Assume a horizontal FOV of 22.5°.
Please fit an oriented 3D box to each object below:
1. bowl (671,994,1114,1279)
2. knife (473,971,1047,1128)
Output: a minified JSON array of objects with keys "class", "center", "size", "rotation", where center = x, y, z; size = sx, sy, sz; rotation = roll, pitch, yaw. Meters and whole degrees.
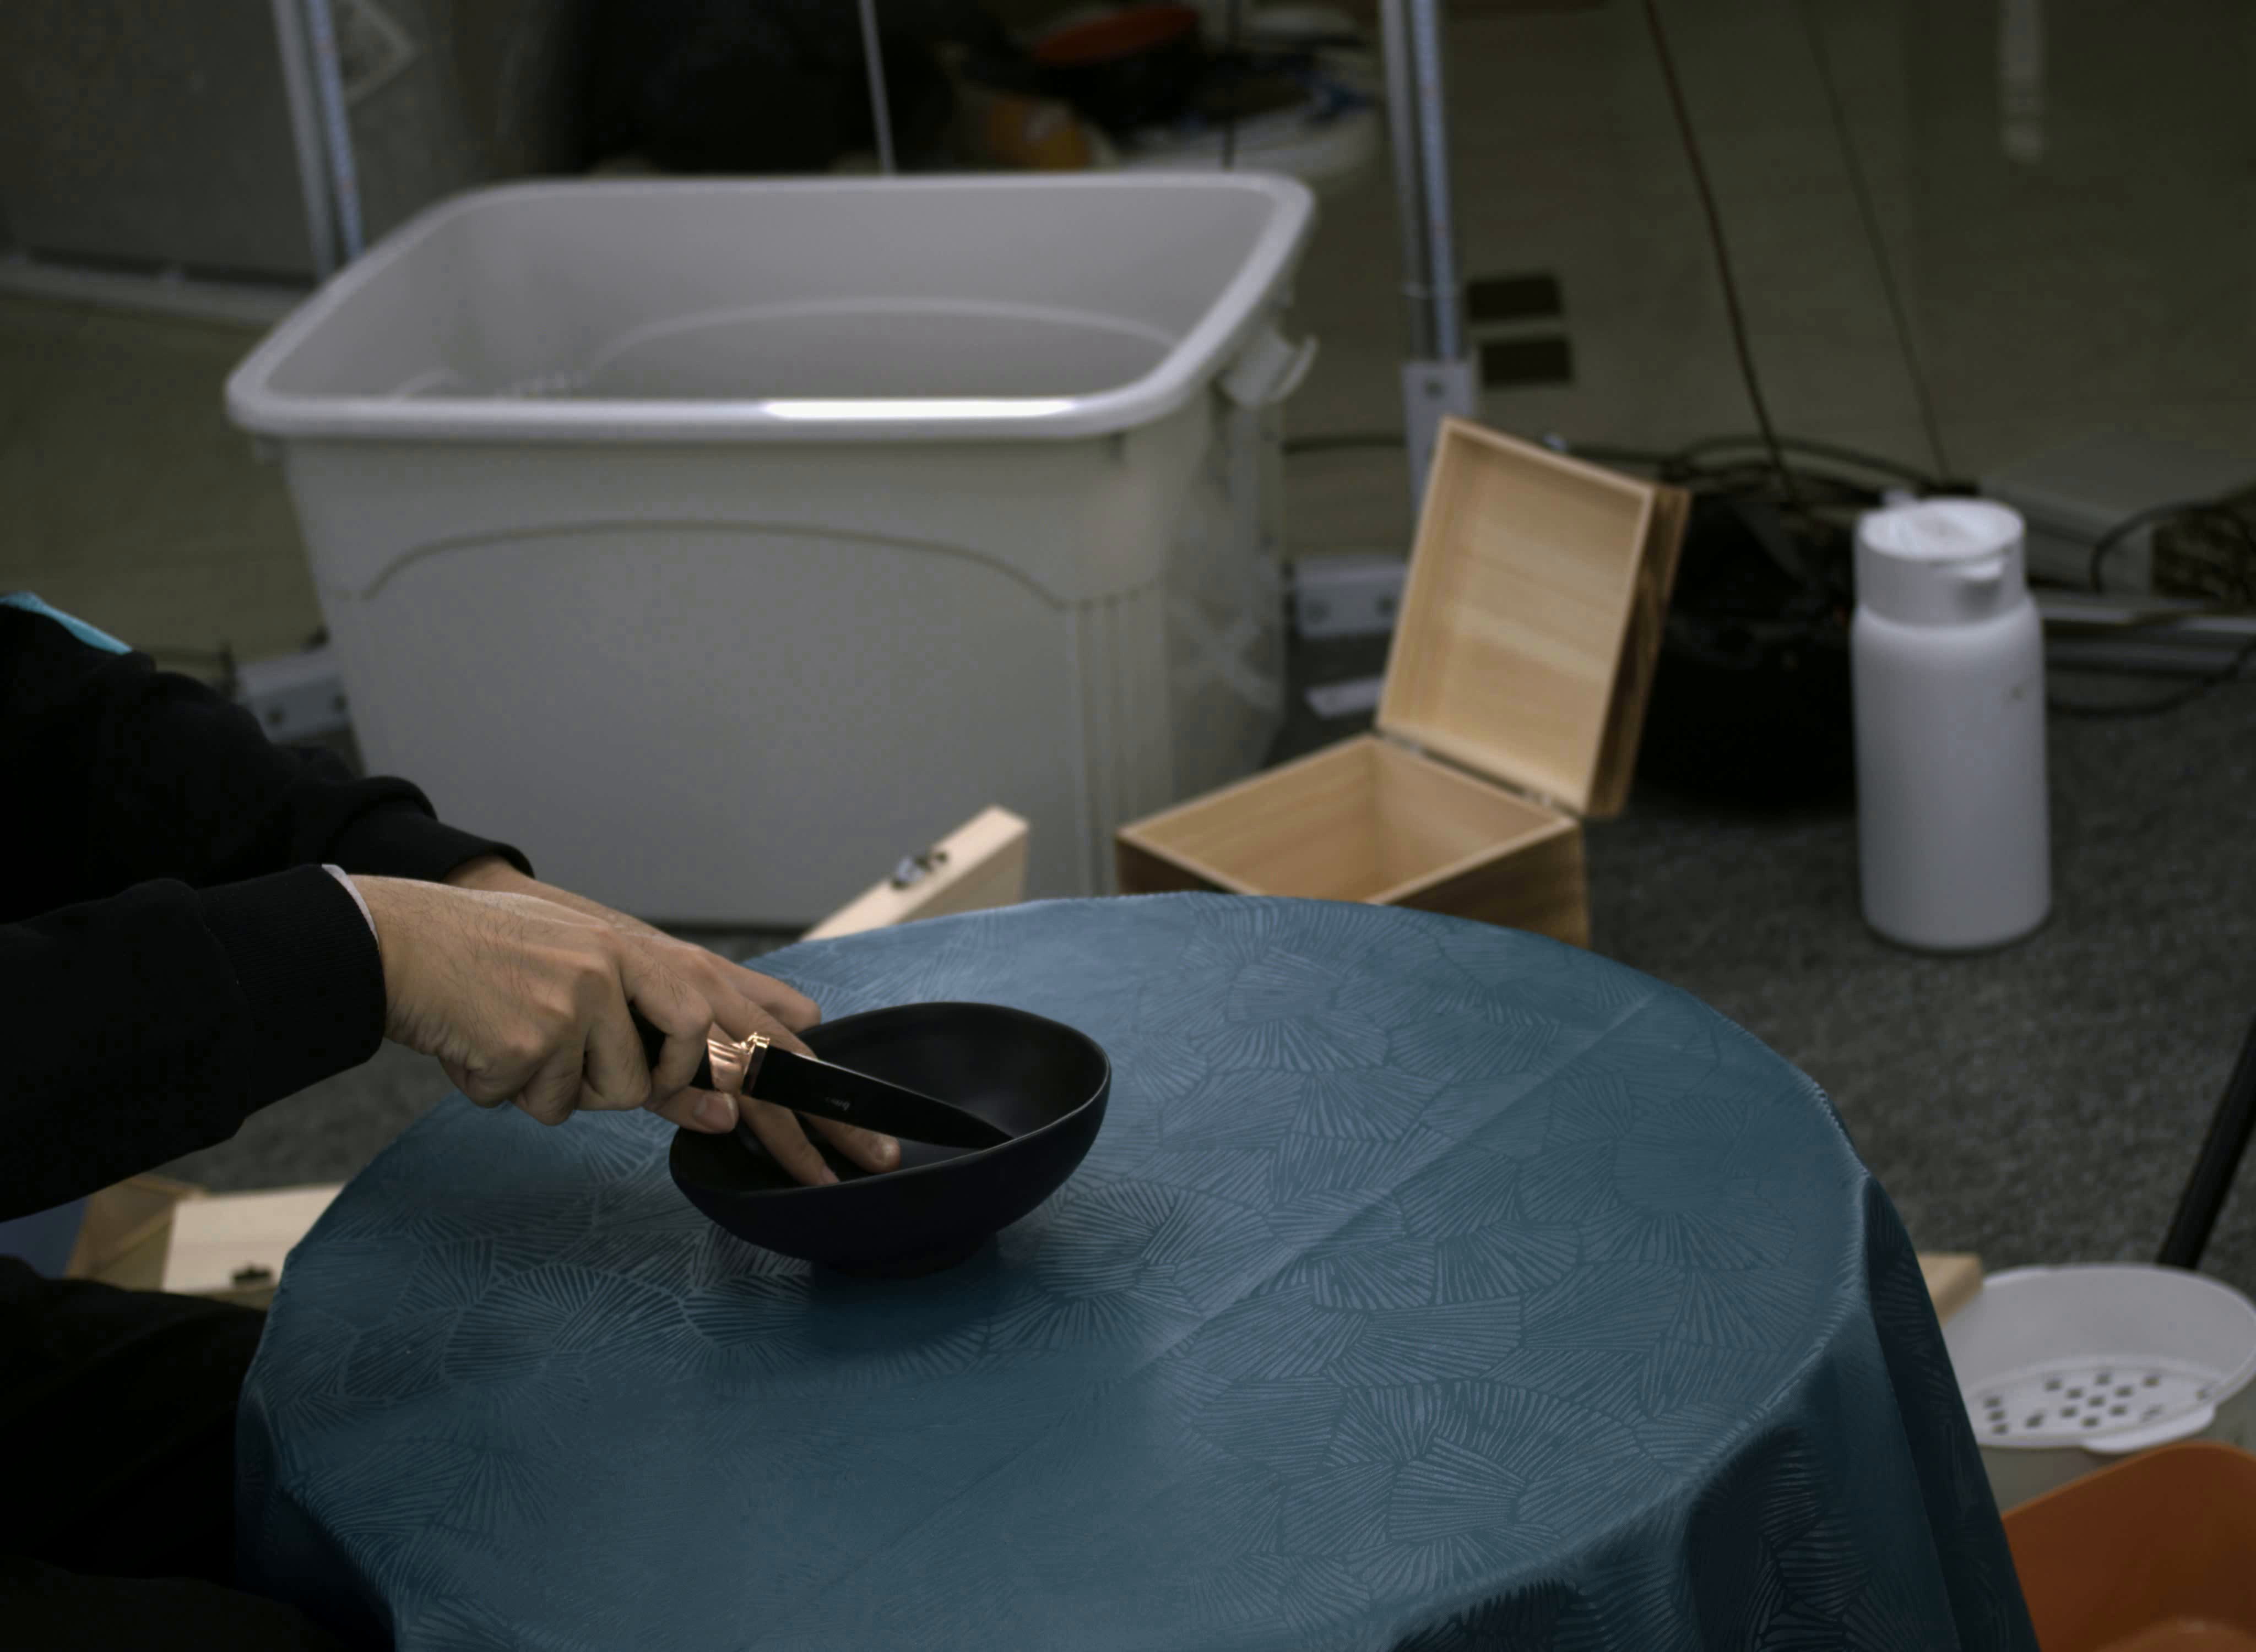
[{"class":"bowl","center":[-0.084,0.126,2.119],"size":[0.170,0.068,0.135],"rotation":[-15,26,-12]},{"class":"knife","center":[-0.135,0.088,2.102],"size":[0.226,0.026,0.017],"rotation":[16,21,-21]}]
